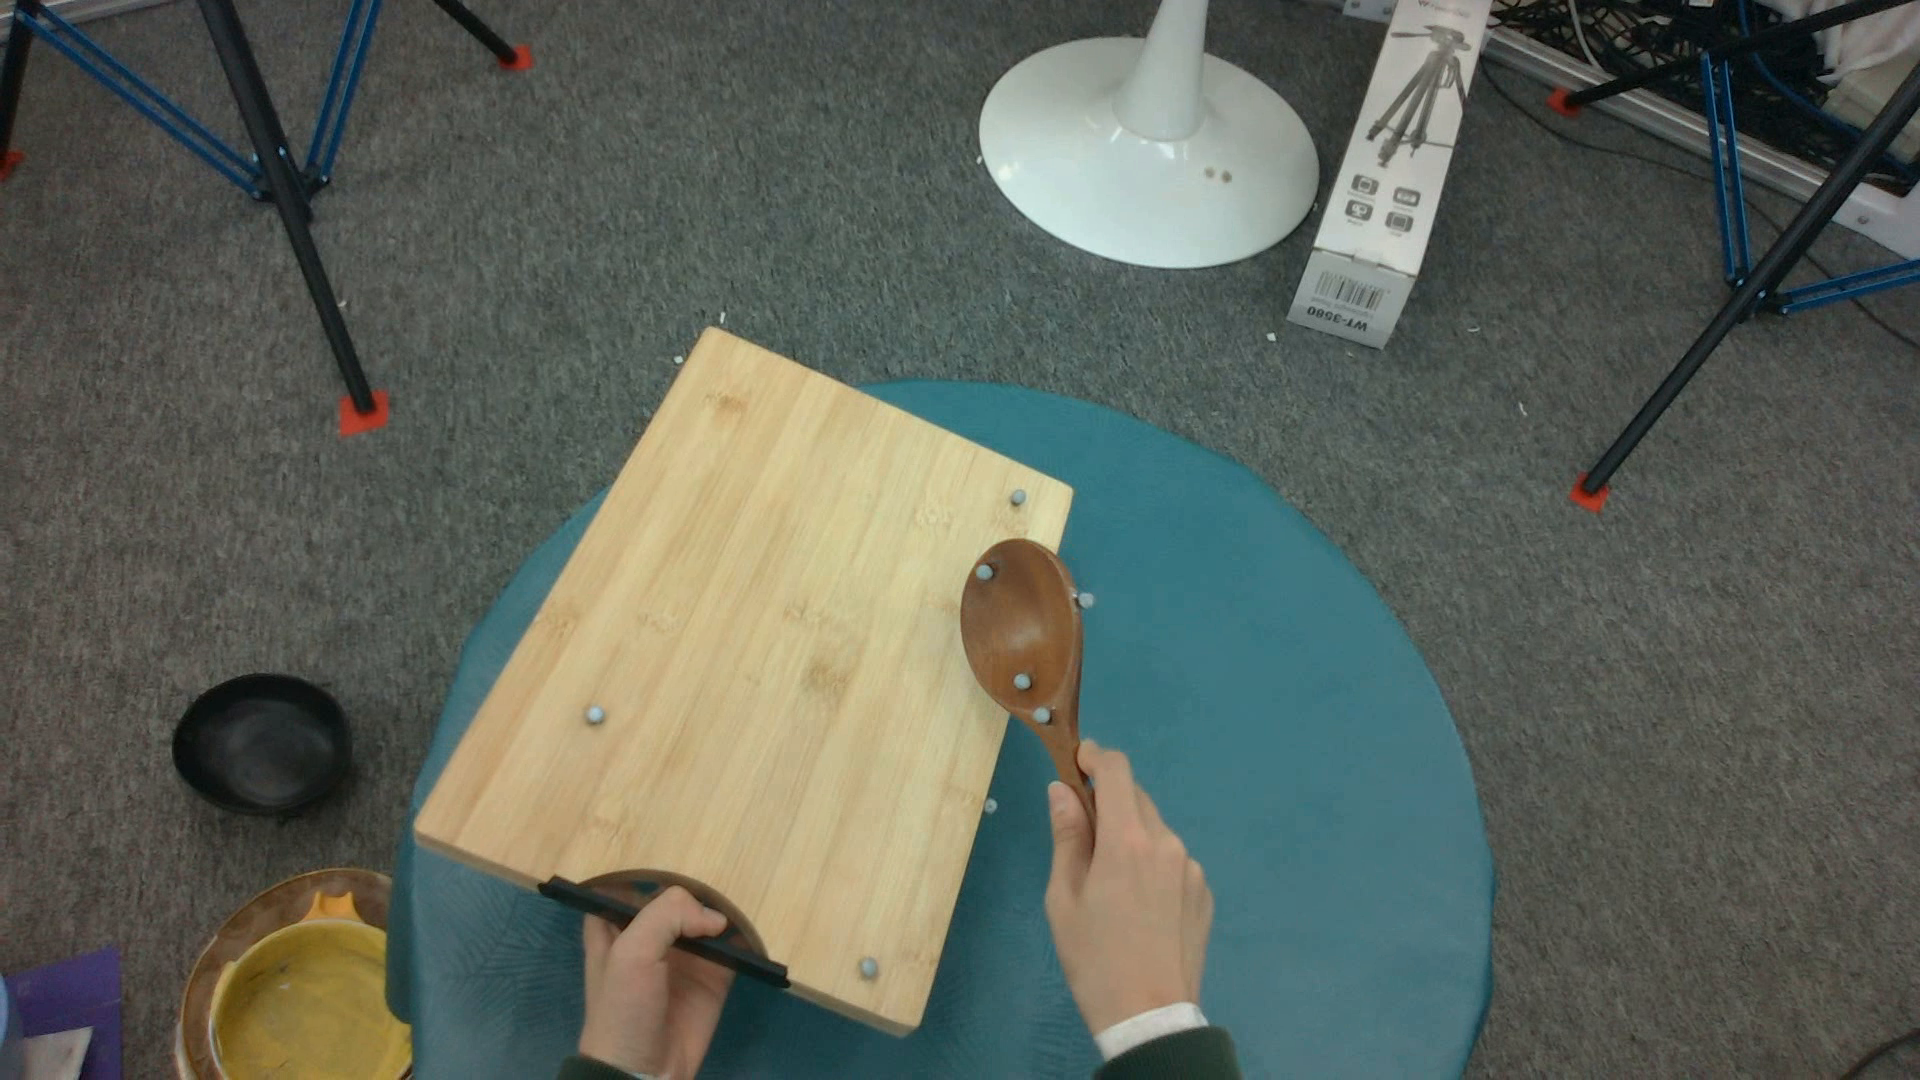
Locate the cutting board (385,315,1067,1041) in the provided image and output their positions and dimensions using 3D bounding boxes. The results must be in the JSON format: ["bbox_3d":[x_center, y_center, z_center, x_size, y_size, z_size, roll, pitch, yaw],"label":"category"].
[{"bbox_3d":[-0.093,0.049,0.715,0.251,0.023,0.350,23,52,-6],"label":"cutting board"}]

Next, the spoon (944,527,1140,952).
[{"bbox_3d":[0.043,0.090,0.662,0.017,0.075,0.216,18,46,-48],"label":"spoon"}]
